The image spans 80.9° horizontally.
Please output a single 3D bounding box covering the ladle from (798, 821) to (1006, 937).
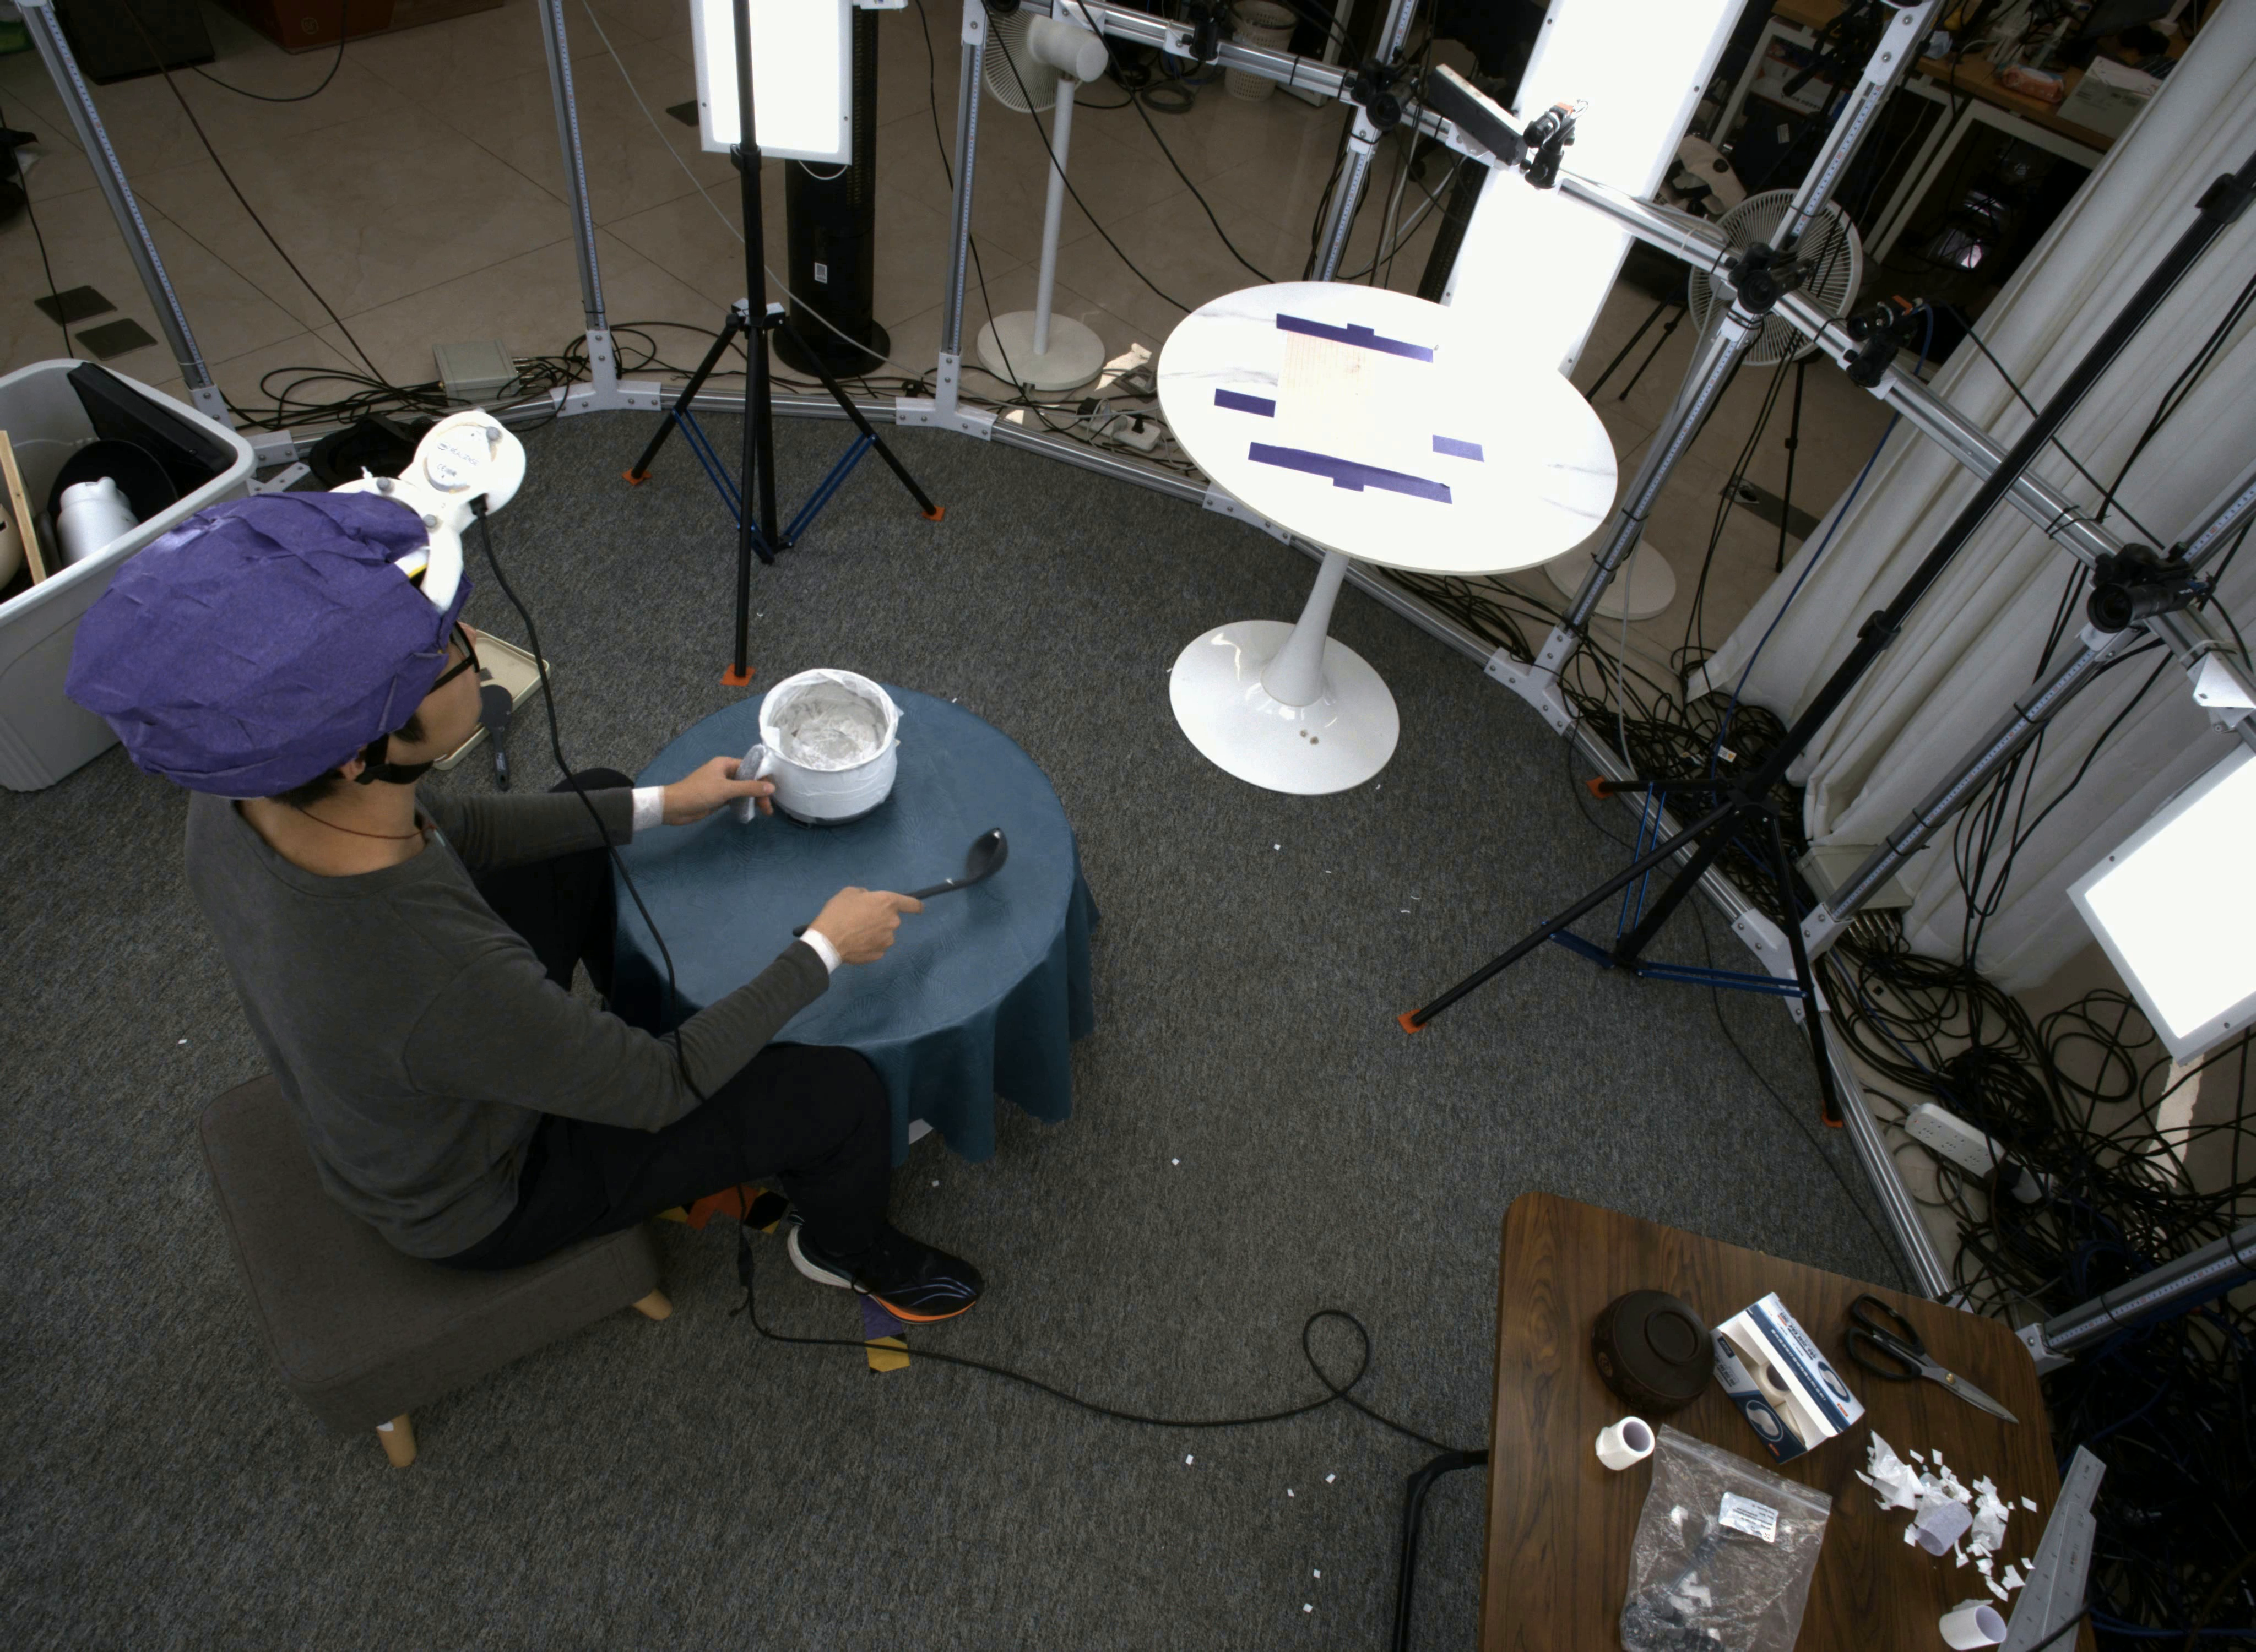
[{"bbox_3d":[-0.280,0.063,1.610,0.317,0.085,0.064,-19,81,-41],"label":"ladle"}]

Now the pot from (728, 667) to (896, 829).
[{"bbox_3d":[-0.420,-0.090,1.713,0.234,0.139,0.174,-31,65,-31],"label":"pot"}]
